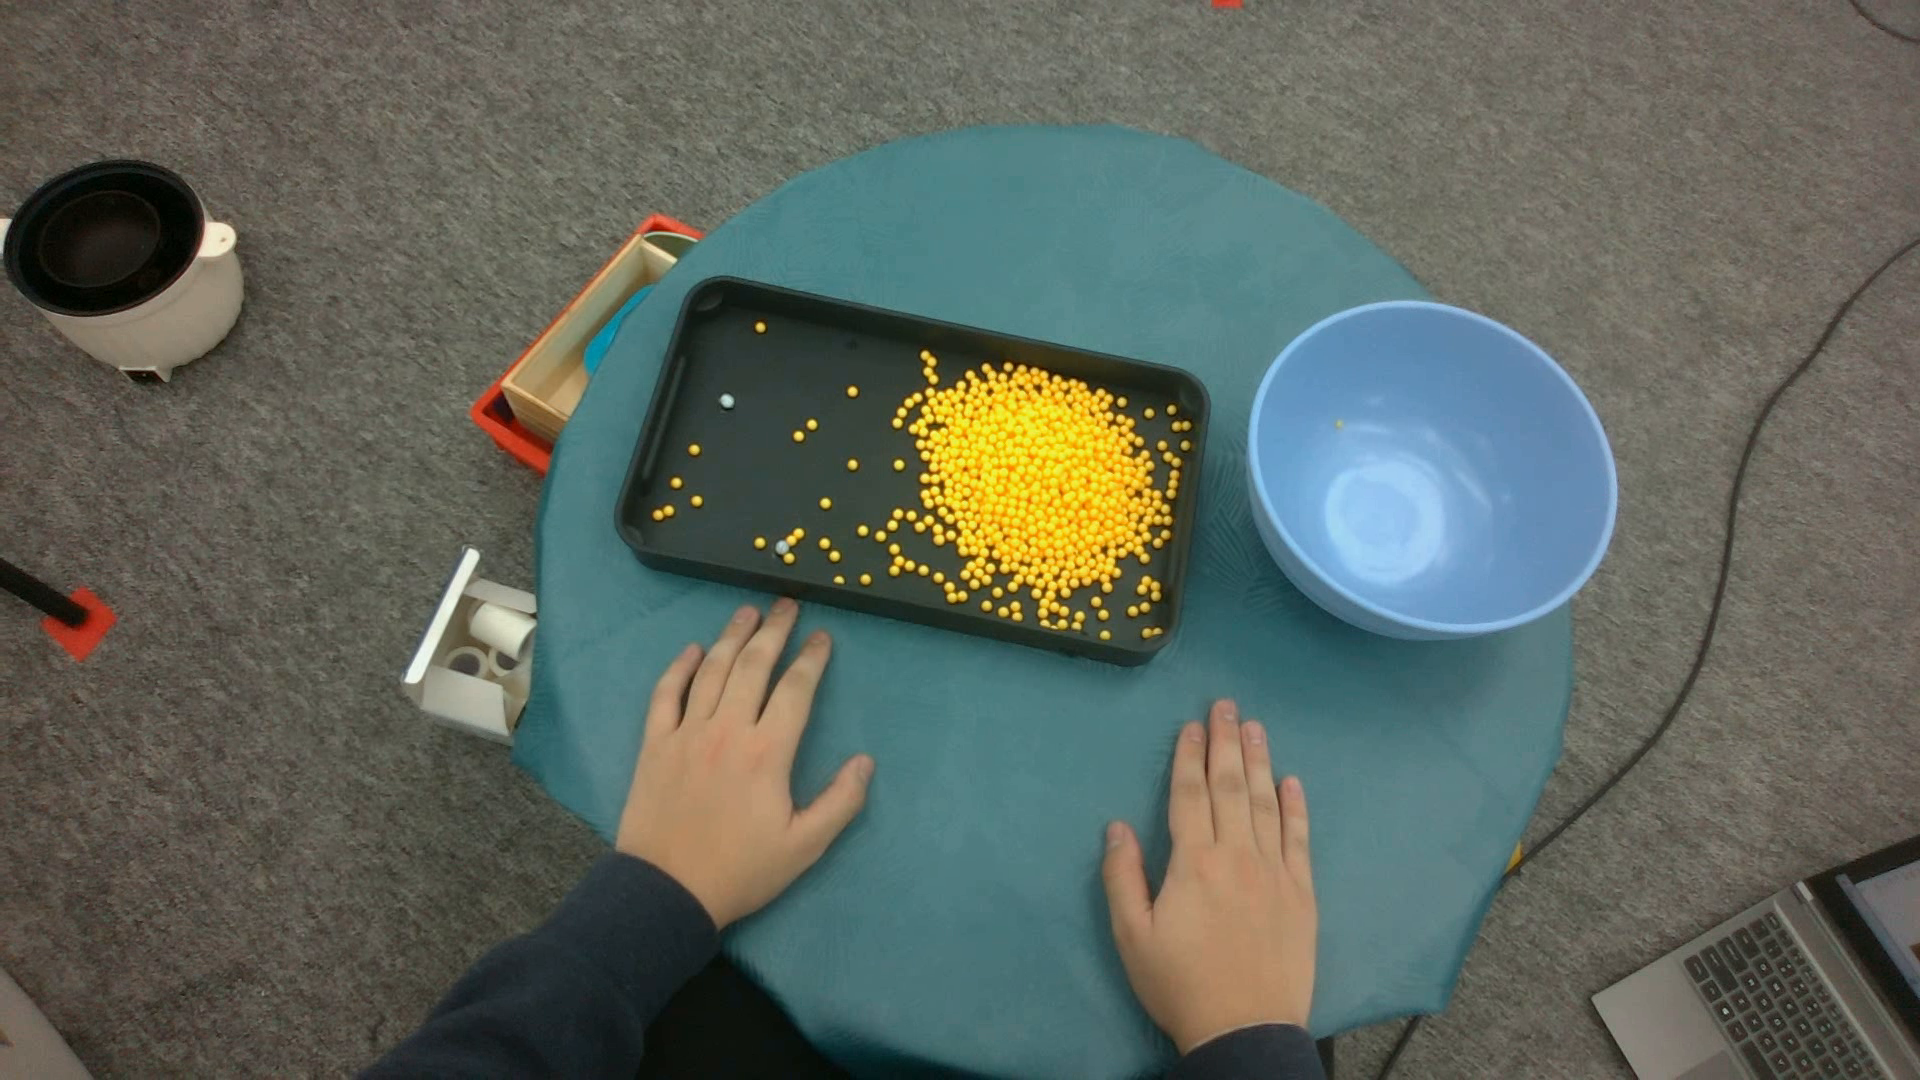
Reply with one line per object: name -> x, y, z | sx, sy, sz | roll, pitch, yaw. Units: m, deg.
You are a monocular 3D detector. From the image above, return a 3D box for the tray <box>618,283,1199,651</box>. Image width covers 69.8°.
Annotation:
tray -> -0.025, -0.044, 0.810 | 0.318, 0.037, 0.185 | 9, 67, 0

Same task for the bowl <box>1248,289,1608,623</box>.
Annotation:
bowl -> 0.251, -0.034, 0.785 | 0.196, 0.095, 0.197 | 2, 66, -3
